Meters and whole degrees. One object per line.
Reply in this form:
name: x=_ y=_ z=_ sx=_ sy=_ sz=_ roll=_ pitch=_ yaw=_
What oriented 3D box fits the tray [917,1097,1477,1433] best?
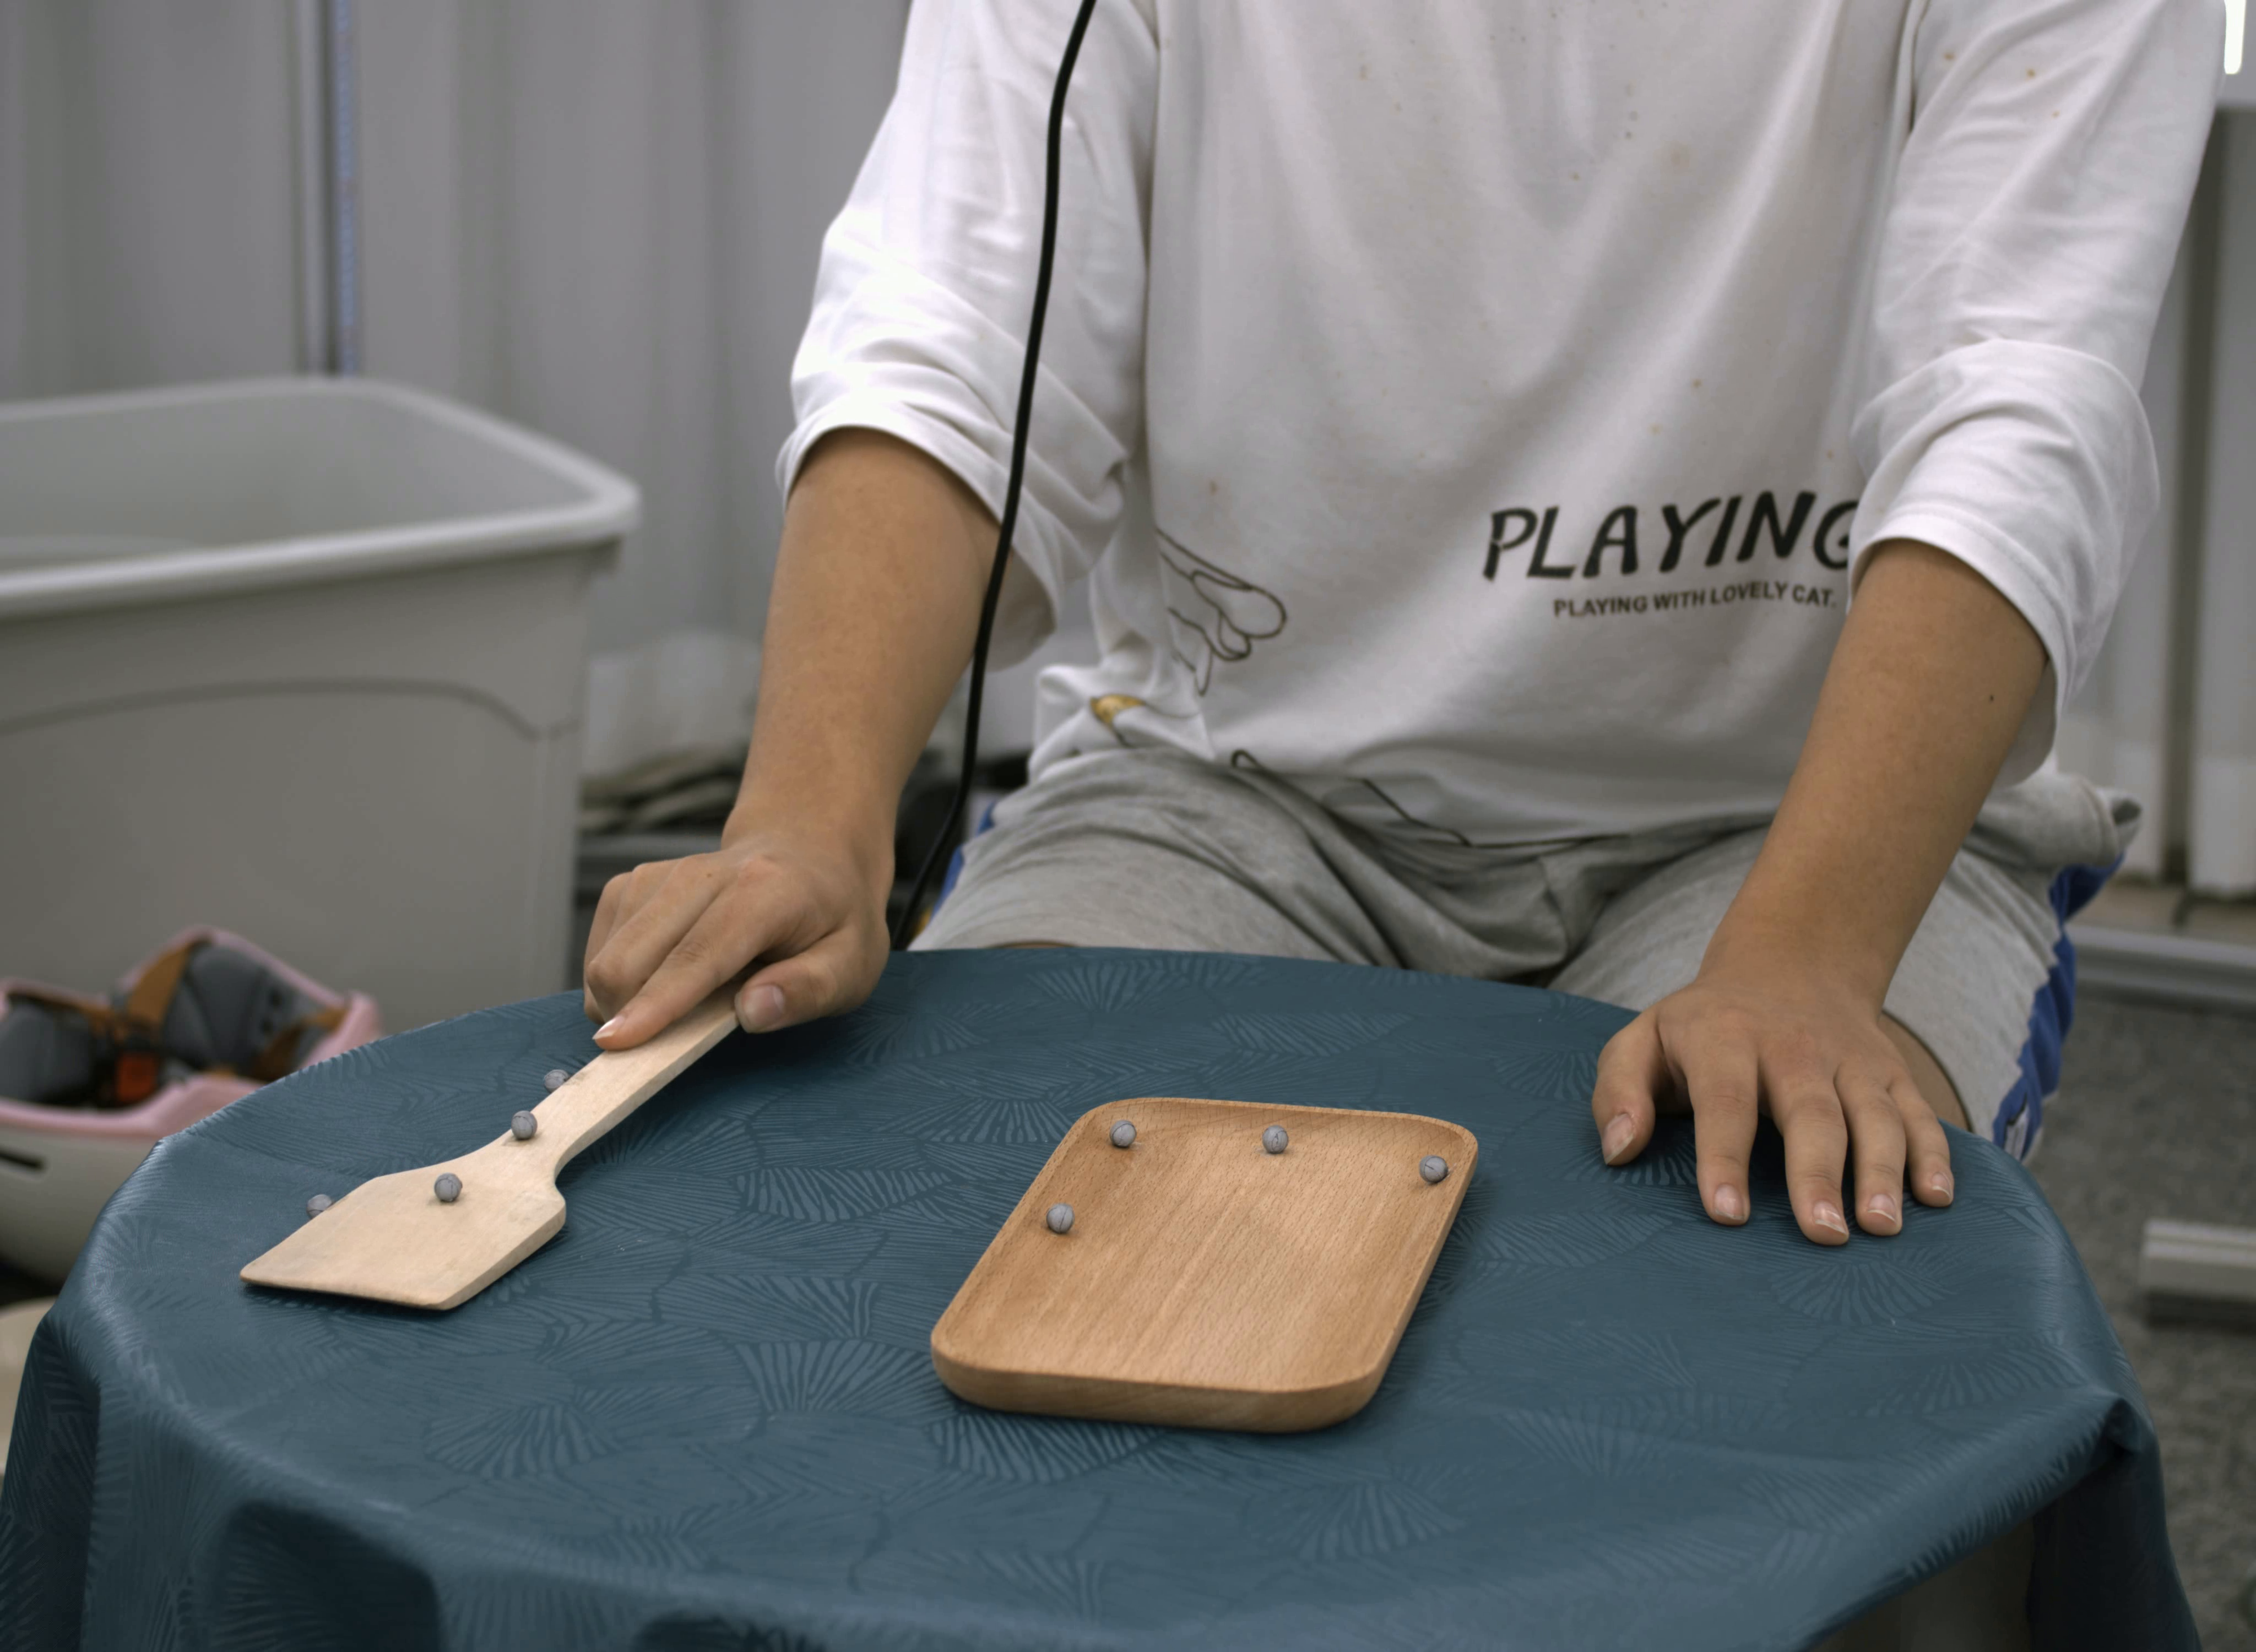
tray: x=0.025 y=0.126 z=1.551 sx=0.129 sy=0.023 sz=0.250 roll=2 pitch=15 yaw=13

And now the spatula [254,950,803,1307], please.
spatula: x=-0.174 y=0.091 z=1.650 sx=0.071 sy=0.011 sz=0.293 roll=5 pitch=20 yaw=21
